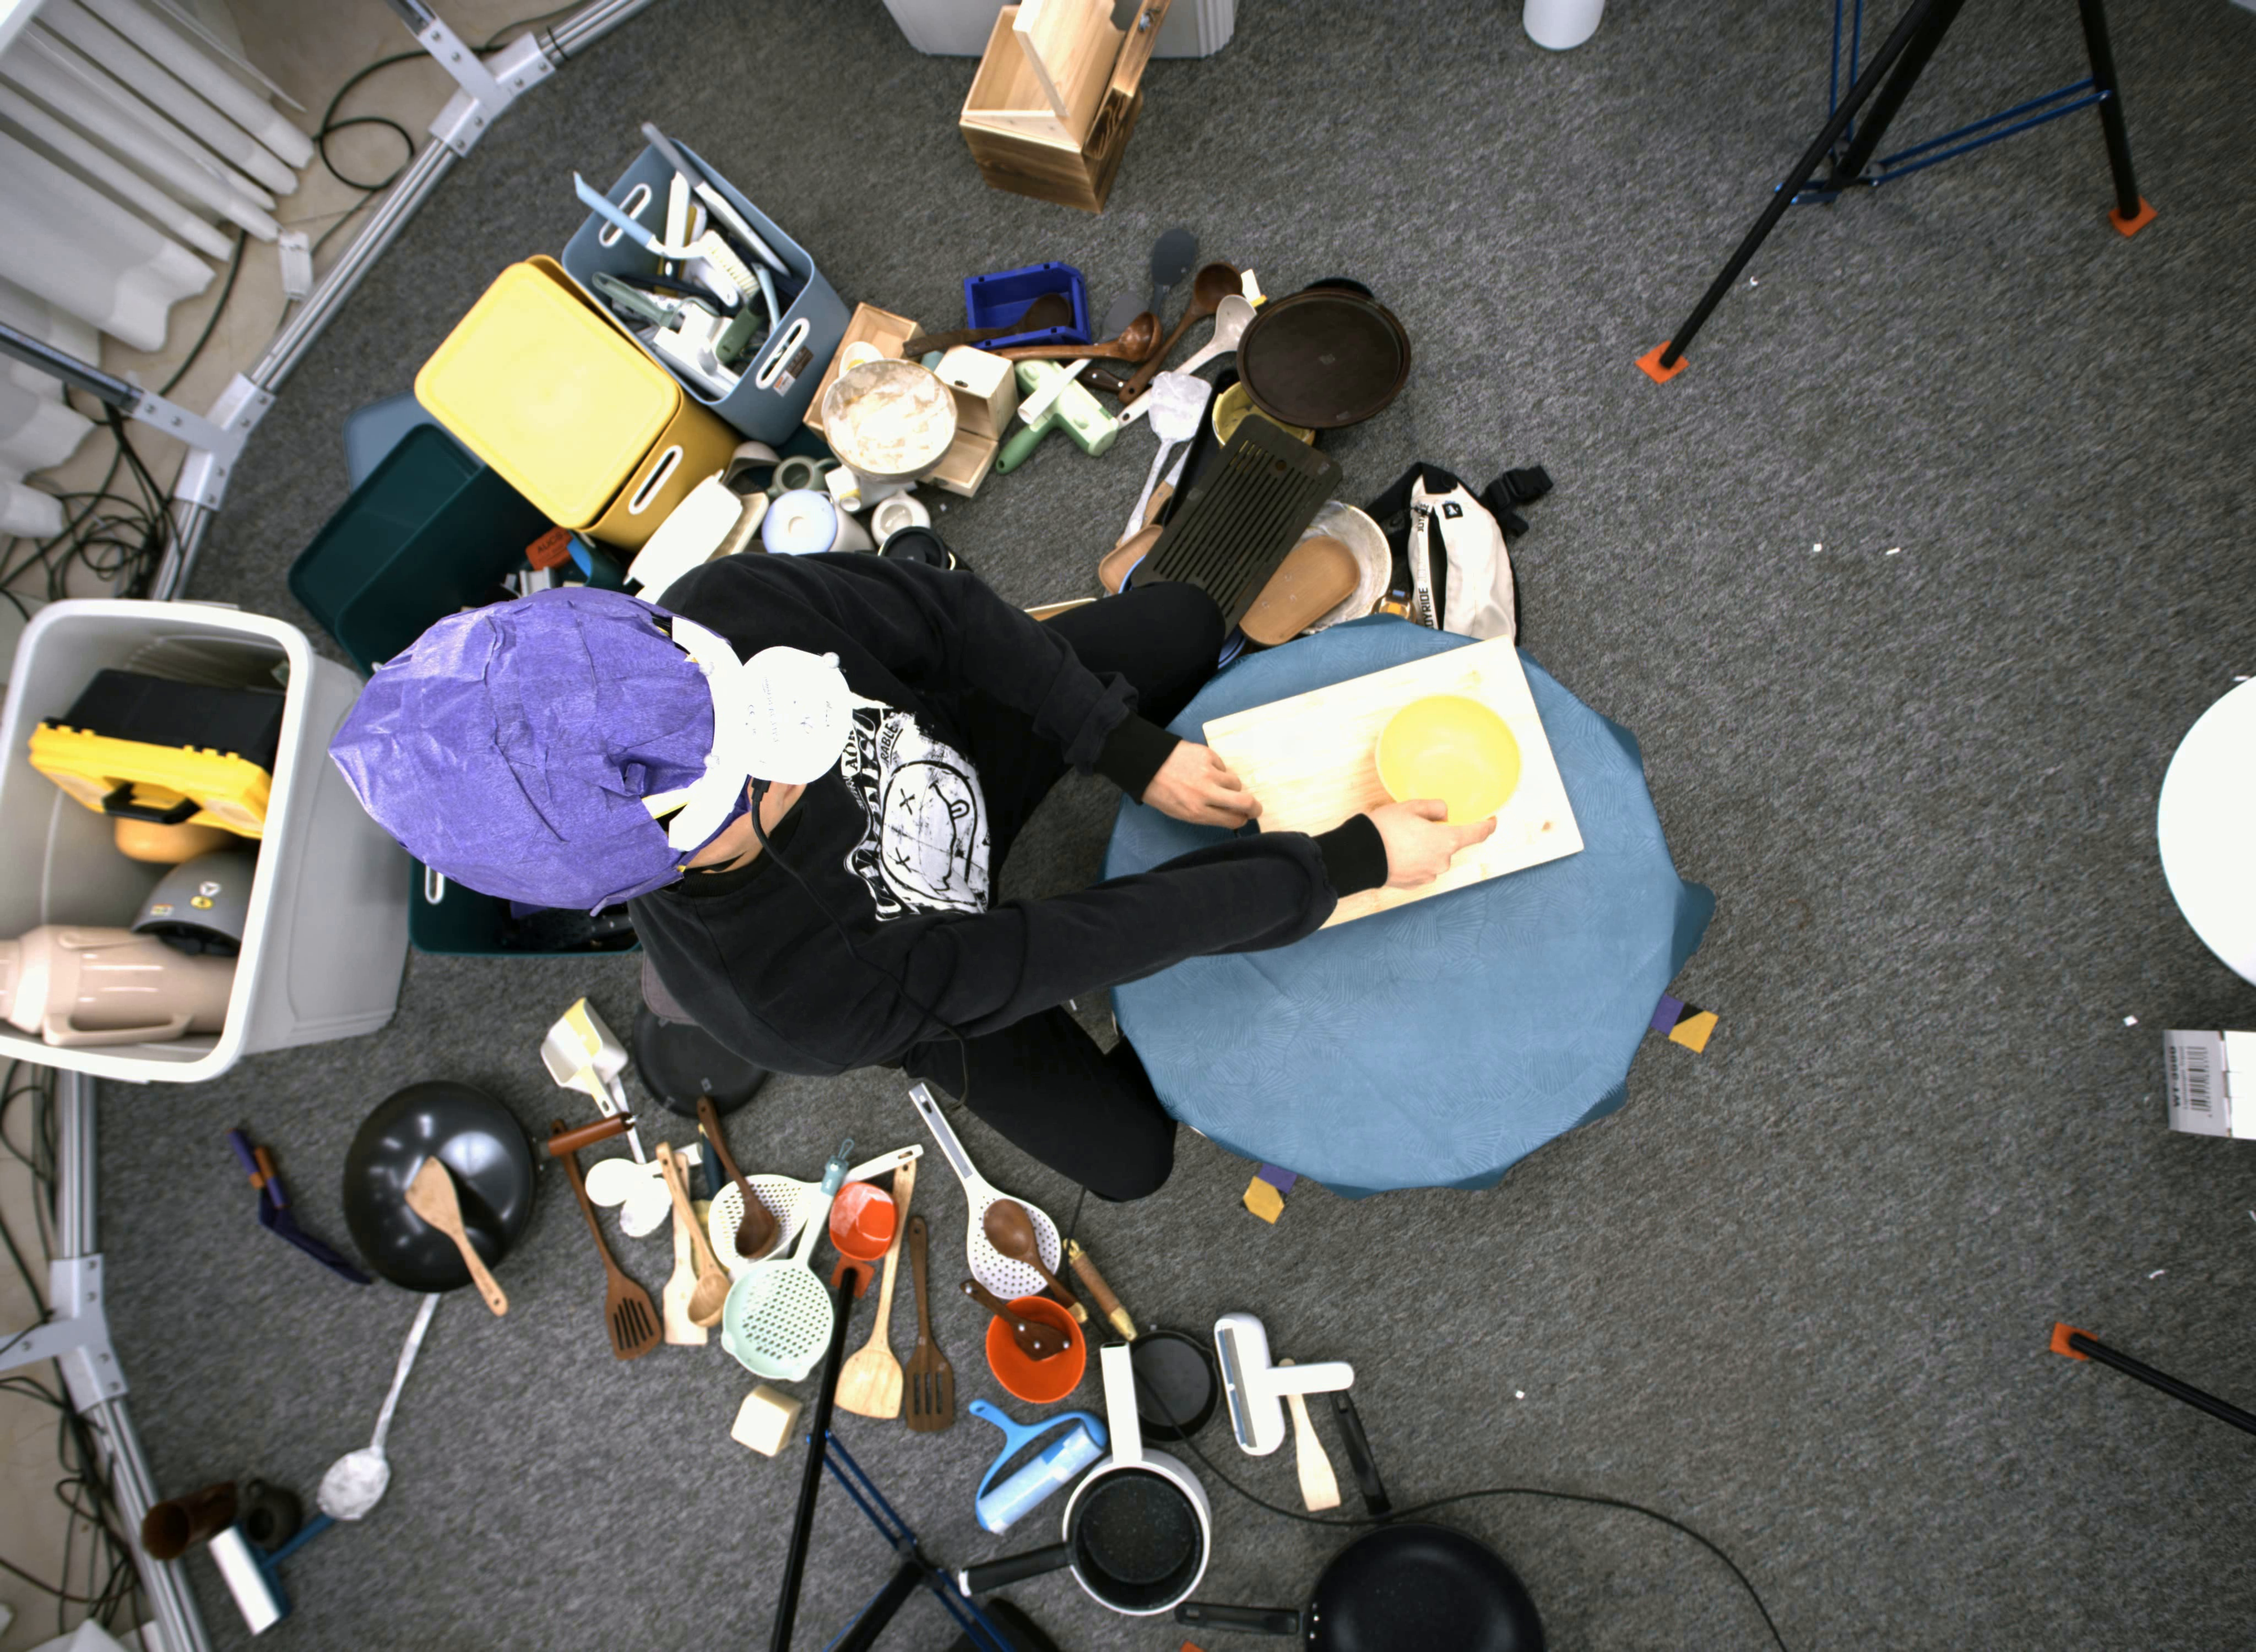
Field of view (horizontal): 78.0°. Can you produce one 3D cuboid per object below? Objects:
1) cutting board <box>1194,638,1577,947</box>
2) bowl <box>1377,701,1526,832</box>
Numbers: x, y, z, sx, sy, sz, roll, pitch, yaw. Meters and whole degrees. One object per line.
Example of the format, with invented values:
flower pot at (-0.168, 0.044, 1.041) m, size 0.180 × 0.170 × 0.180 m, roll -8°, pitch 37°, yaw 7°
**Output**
cutting board at (0.270, -0.038, 1.437) m, size 0.349 × 0.024 × 0.249 m, roll -18°, pitch 83°, yaw 0°
bowl at (0.323, -0.051, 1.381) m, size 0.146 × 0.061 × 0.142 m, roll -3°, pitch 66°, yaw 6°
